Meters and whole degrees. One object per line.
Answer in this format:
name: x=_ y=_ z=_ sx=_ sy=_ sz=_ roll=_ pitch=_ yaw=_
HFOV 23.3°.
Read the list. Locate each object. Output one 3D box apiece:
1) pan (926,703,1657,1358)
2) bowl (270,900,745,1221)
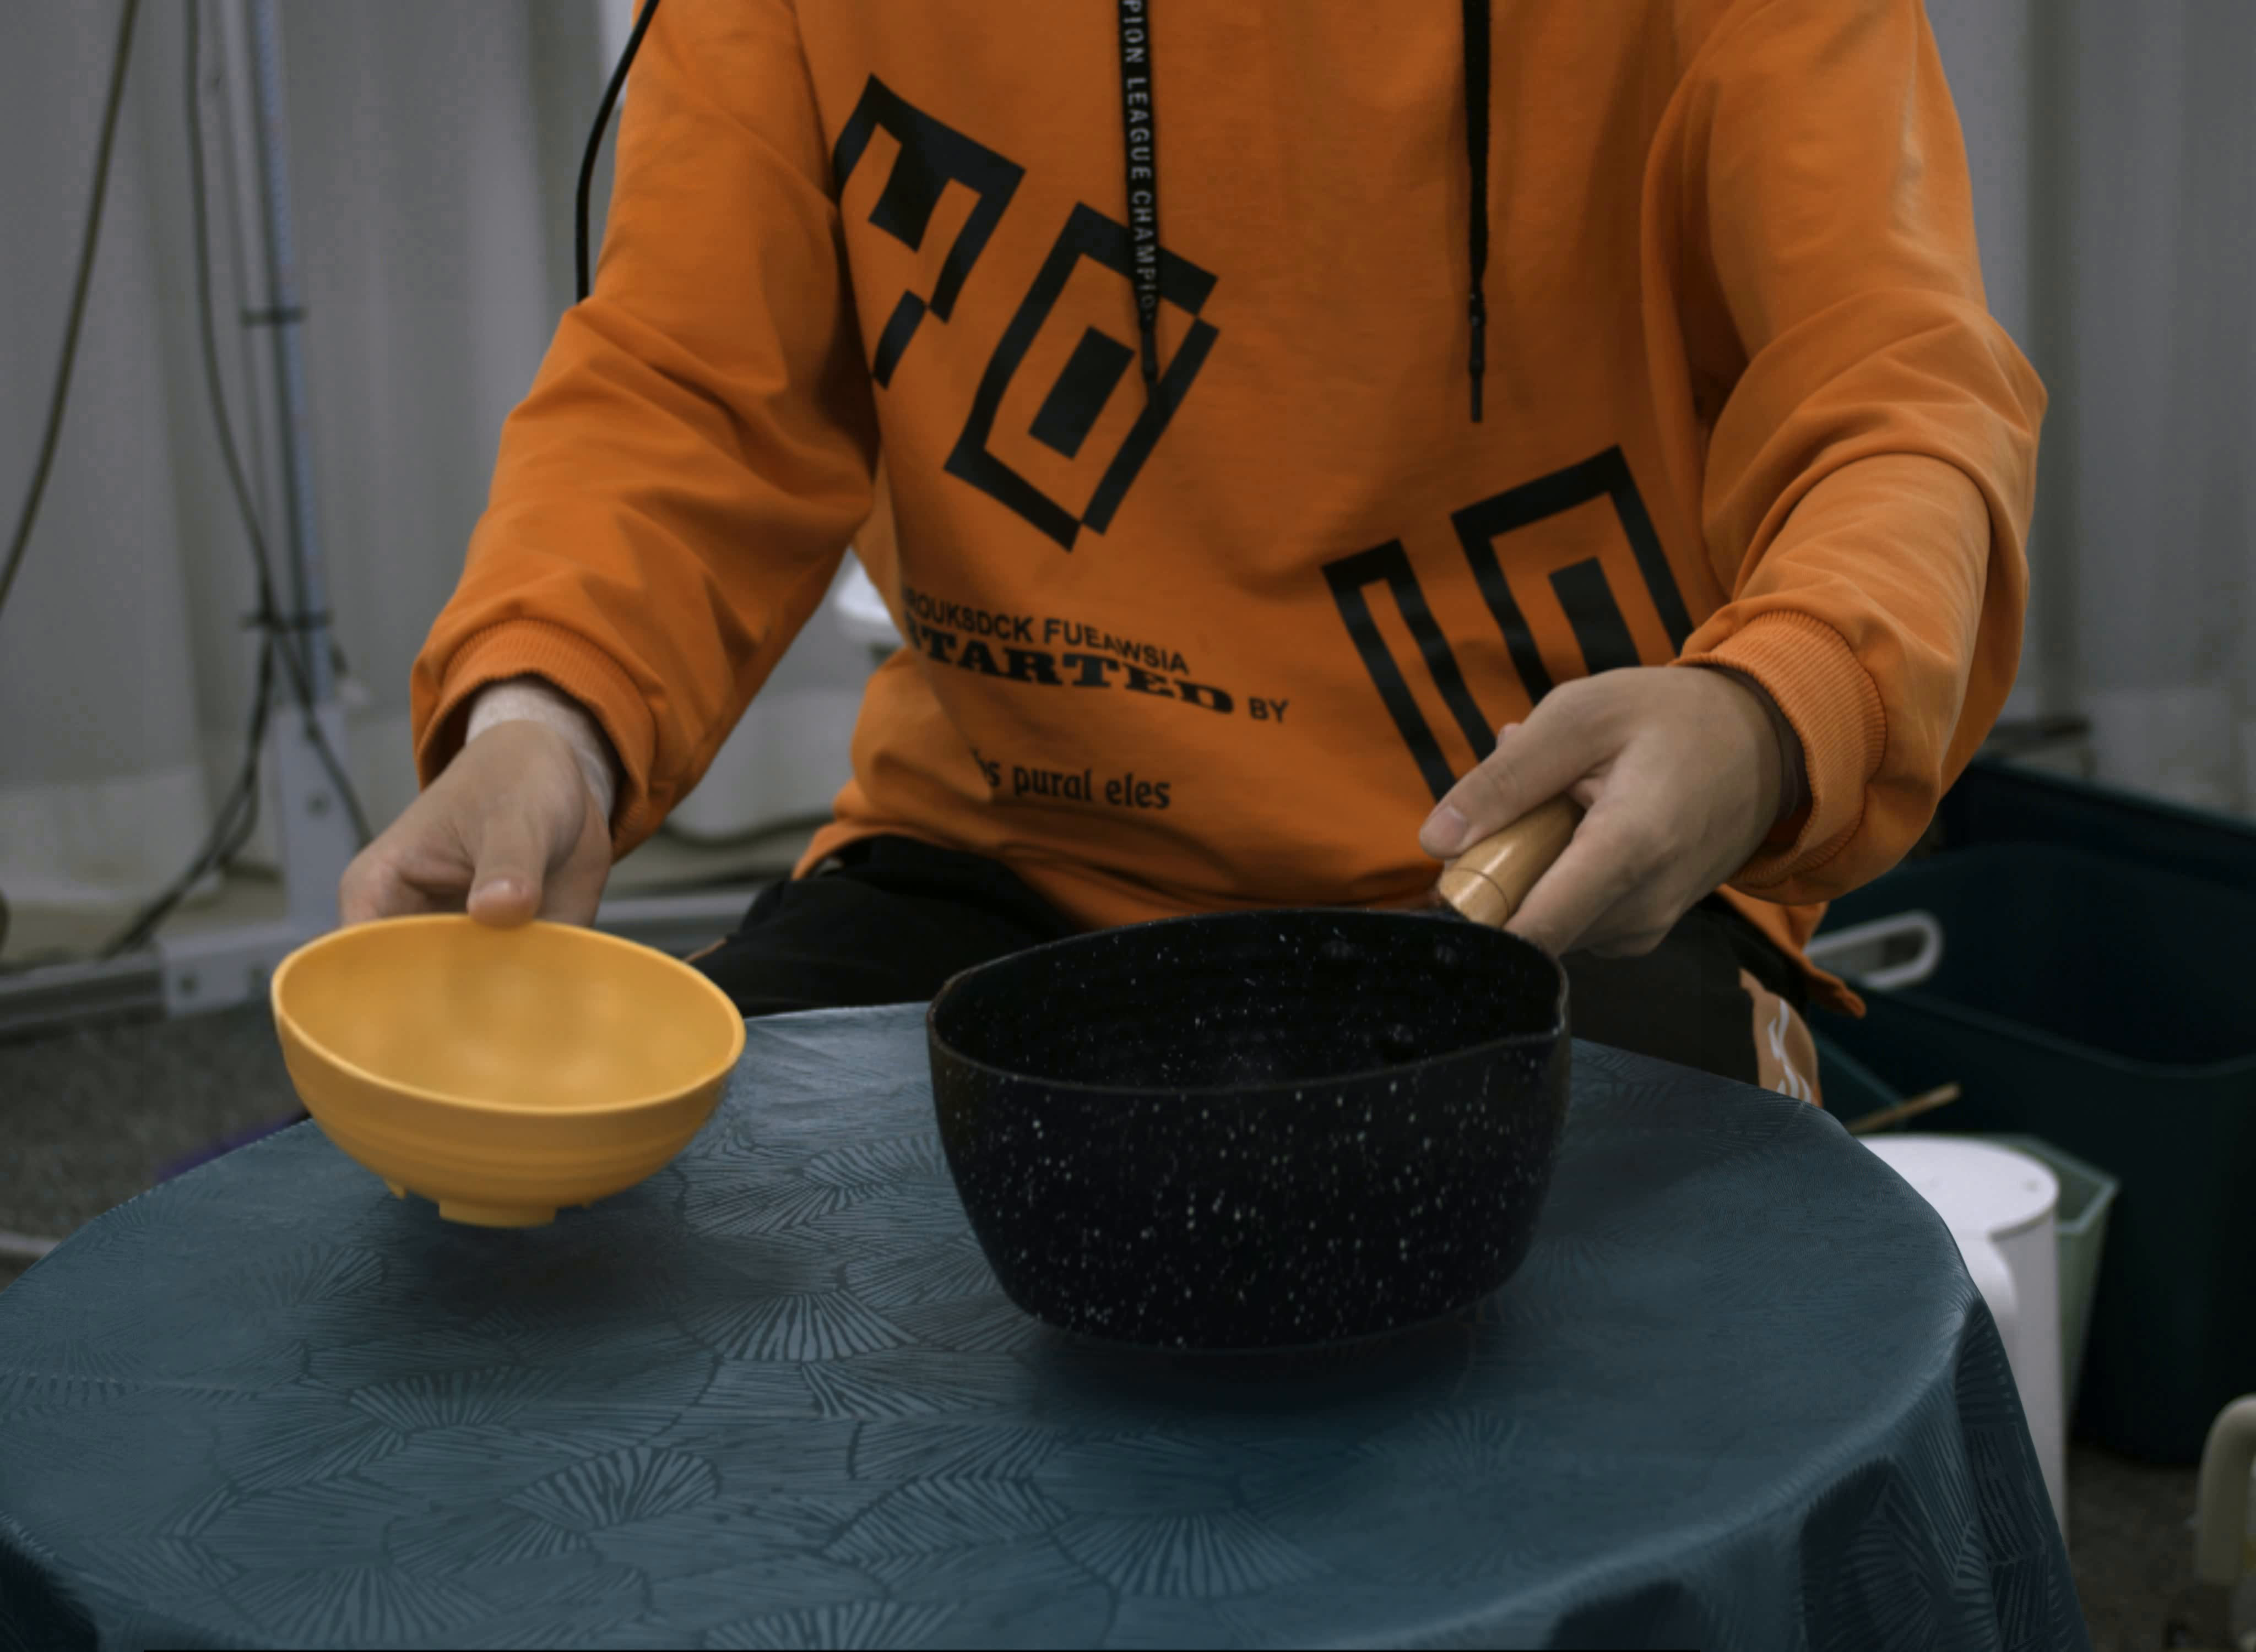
pan: x=0.076 y=0.056 z=1.633 sx=0.208 sy=0.108 sz=0.343 roll=2 pitch=16 yaw=30
bowl: x=-0.192 y=0.079 z=1.664 sx=0.145 sy=0.060 sz=0.147 roll=9 pitch=21 yaw=-4
